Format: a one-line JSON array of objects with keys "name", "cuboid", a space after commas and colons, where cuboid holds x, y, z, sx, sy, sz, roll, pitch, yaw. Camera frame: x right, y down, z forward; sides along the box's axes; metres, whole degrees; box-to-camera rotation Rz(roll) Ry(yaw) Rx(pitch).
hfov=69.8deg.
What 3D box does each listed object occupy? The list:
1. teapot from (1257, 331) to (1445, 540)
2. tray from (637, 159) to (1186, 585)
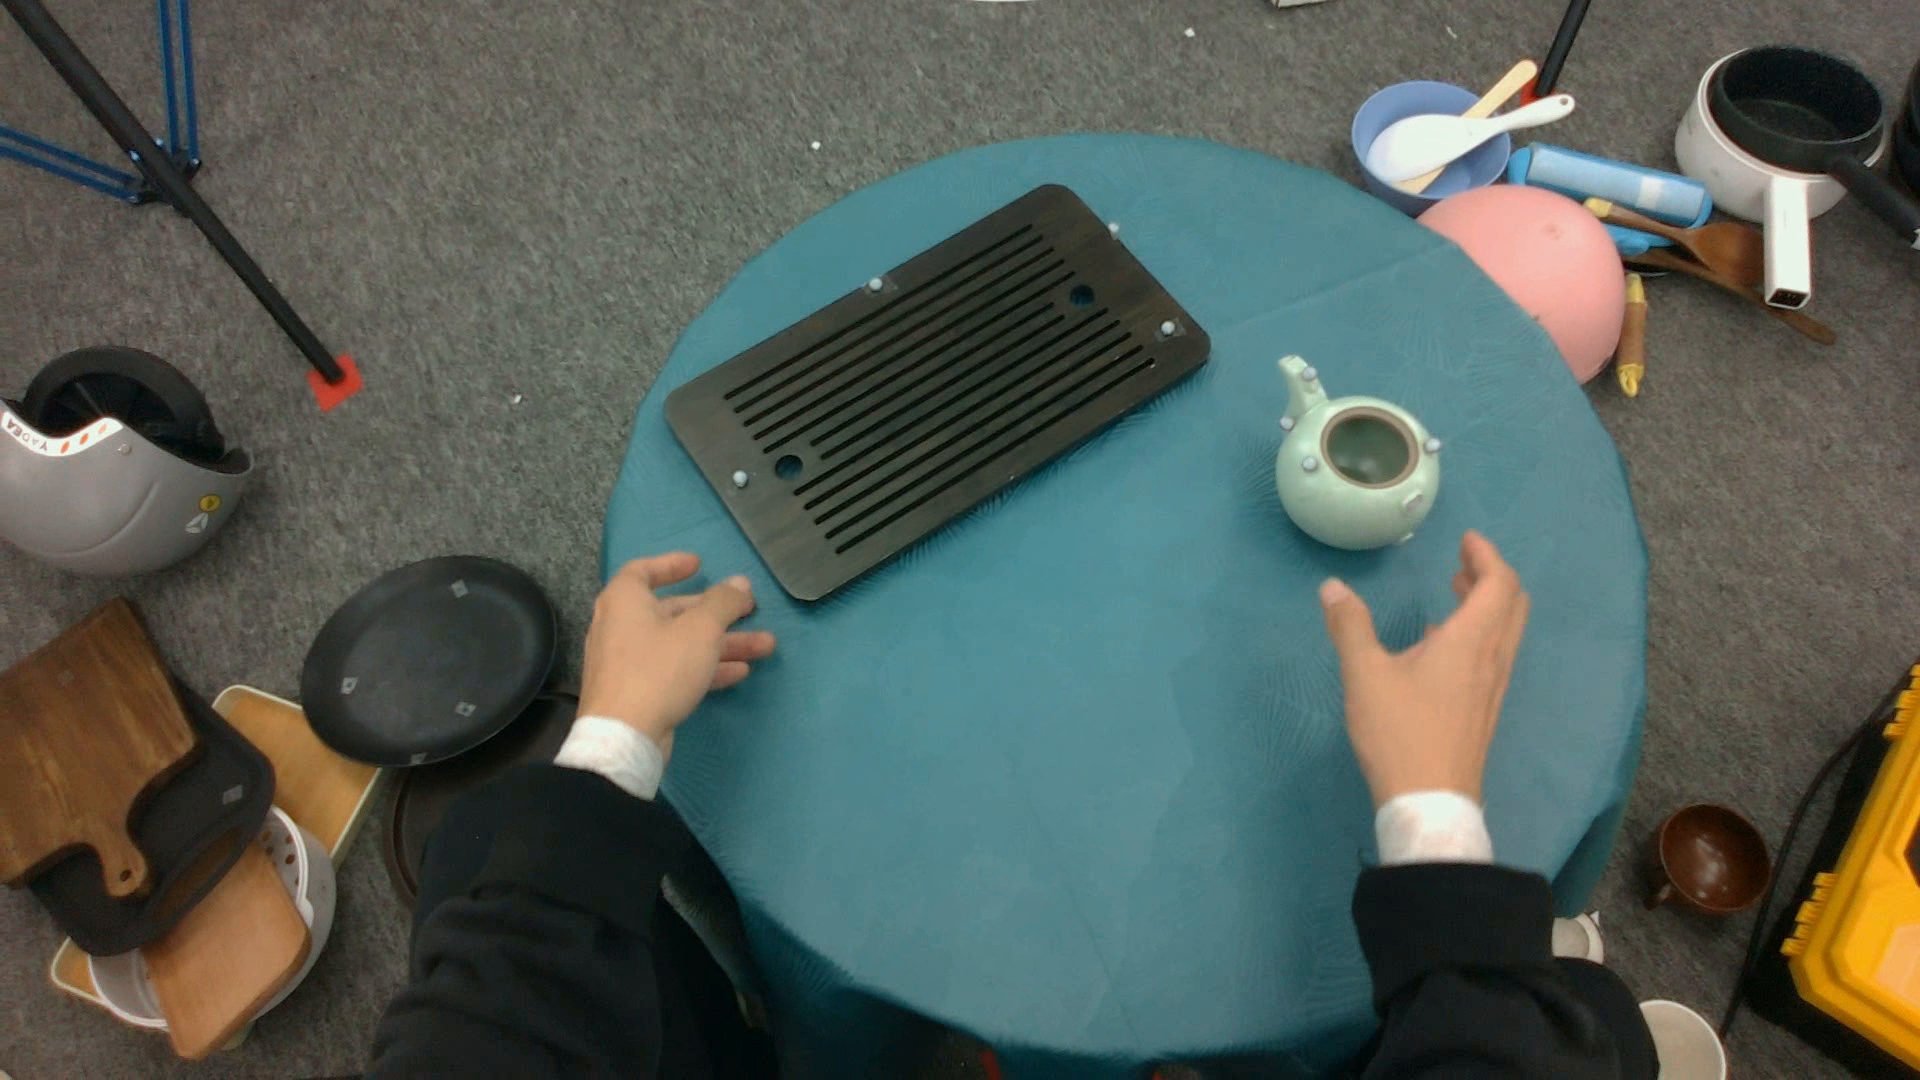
[{"name": "teapot", "cuboid": [0.213, -0.051, 0.777, 0.088, 0.074, 0.144, -31, 66, -14]}, {"name": "tray", "cuboid": [-0.027, -0.110, 0.840, 0.306, 0.018, 0.170, -33, 68, -14]}]
